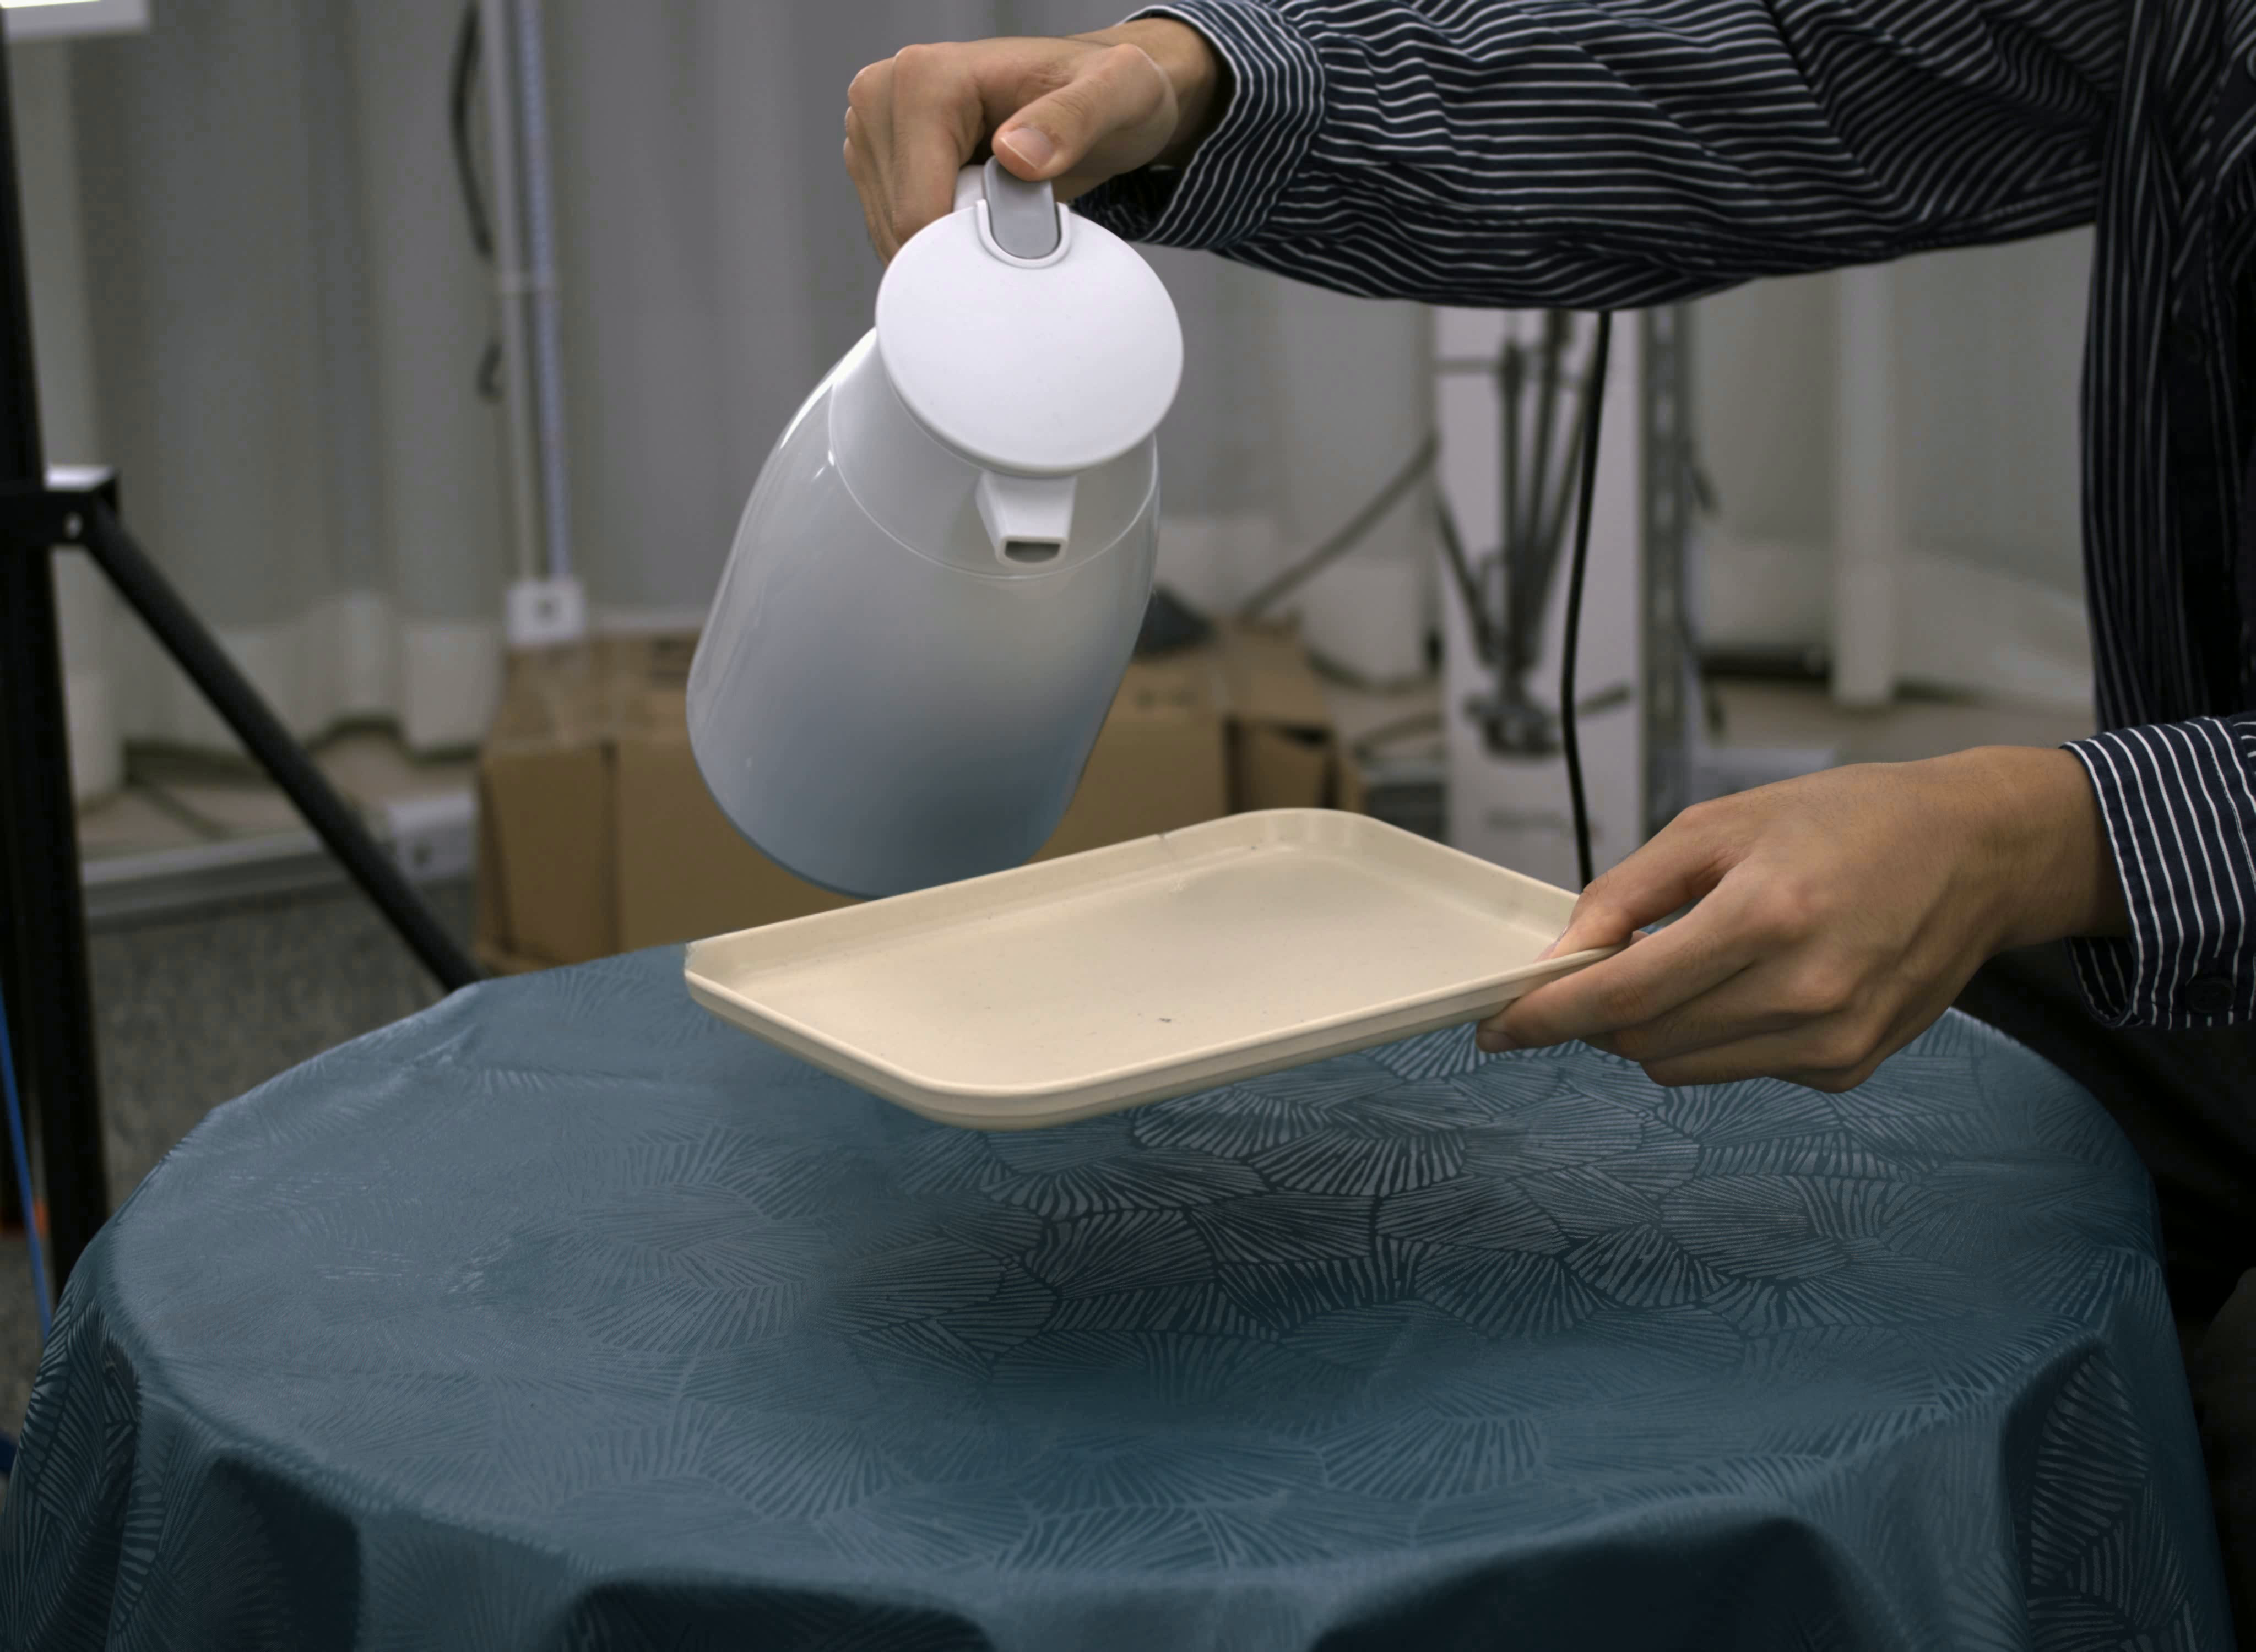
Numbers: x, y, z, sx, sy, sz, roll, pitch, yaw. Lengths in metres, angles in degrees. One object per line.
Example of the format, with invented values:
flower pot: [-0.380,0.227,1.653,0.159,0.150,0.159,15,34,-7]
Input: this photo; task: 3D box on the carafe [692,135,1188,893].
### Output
carafe: [-0.056,-0.109,1.649,0.130,0.170,0.249,-2,-28,-14]

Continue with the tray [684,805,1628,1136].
tray: [0.009,0.039,1.497,0.234,0.017,0.175,-13,21,-32]
